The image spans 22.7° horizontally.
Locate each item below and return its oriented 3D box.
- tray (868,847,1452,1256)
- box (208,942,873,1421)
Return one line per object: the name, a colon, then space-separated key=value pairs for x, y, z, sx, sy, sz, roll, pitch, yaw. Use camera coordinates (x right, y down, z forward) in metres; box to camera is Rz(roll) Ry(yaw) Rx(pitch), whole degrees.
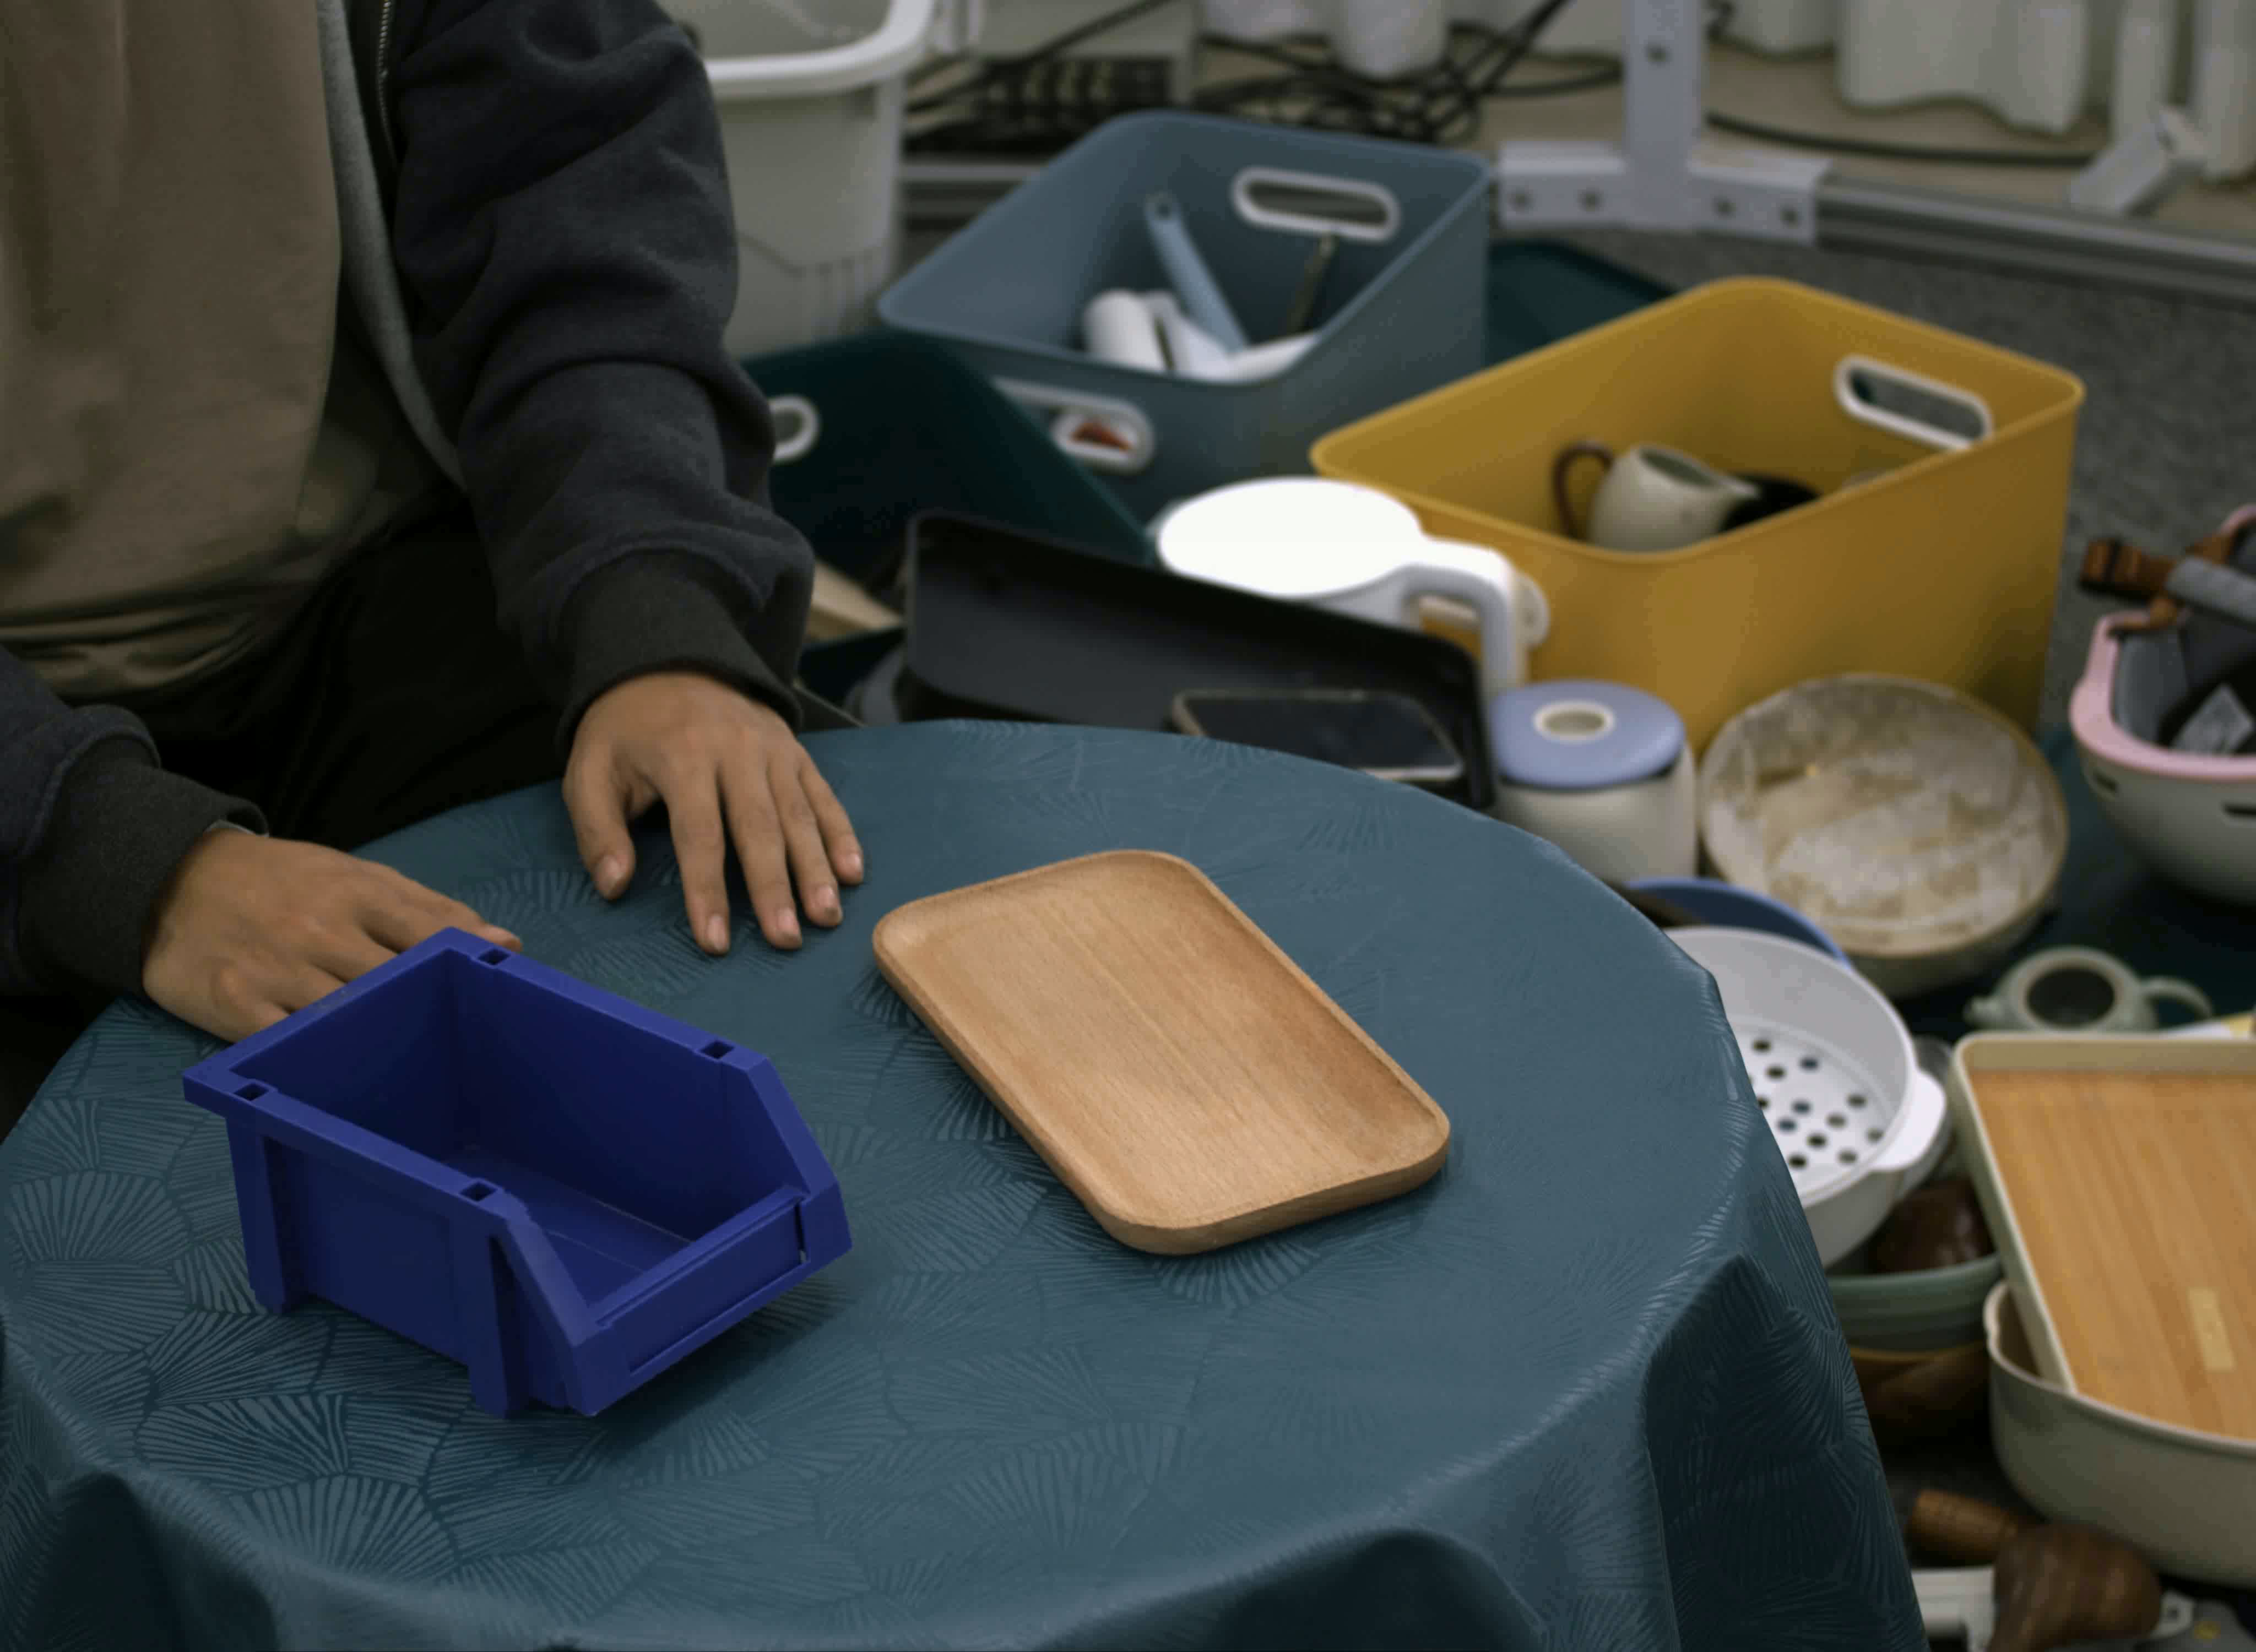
tray: x=0.007 y=0.075 z=1.933 sx=0.131 sy=0.022 sz=0.252 roll=-11 pitch=28 yaw=-21
box: x=-0.186 y=0.117 z=1.802 sx=0.179 sy=0.081 sz=0.126 roll=17 pitch=33 yaw=40
